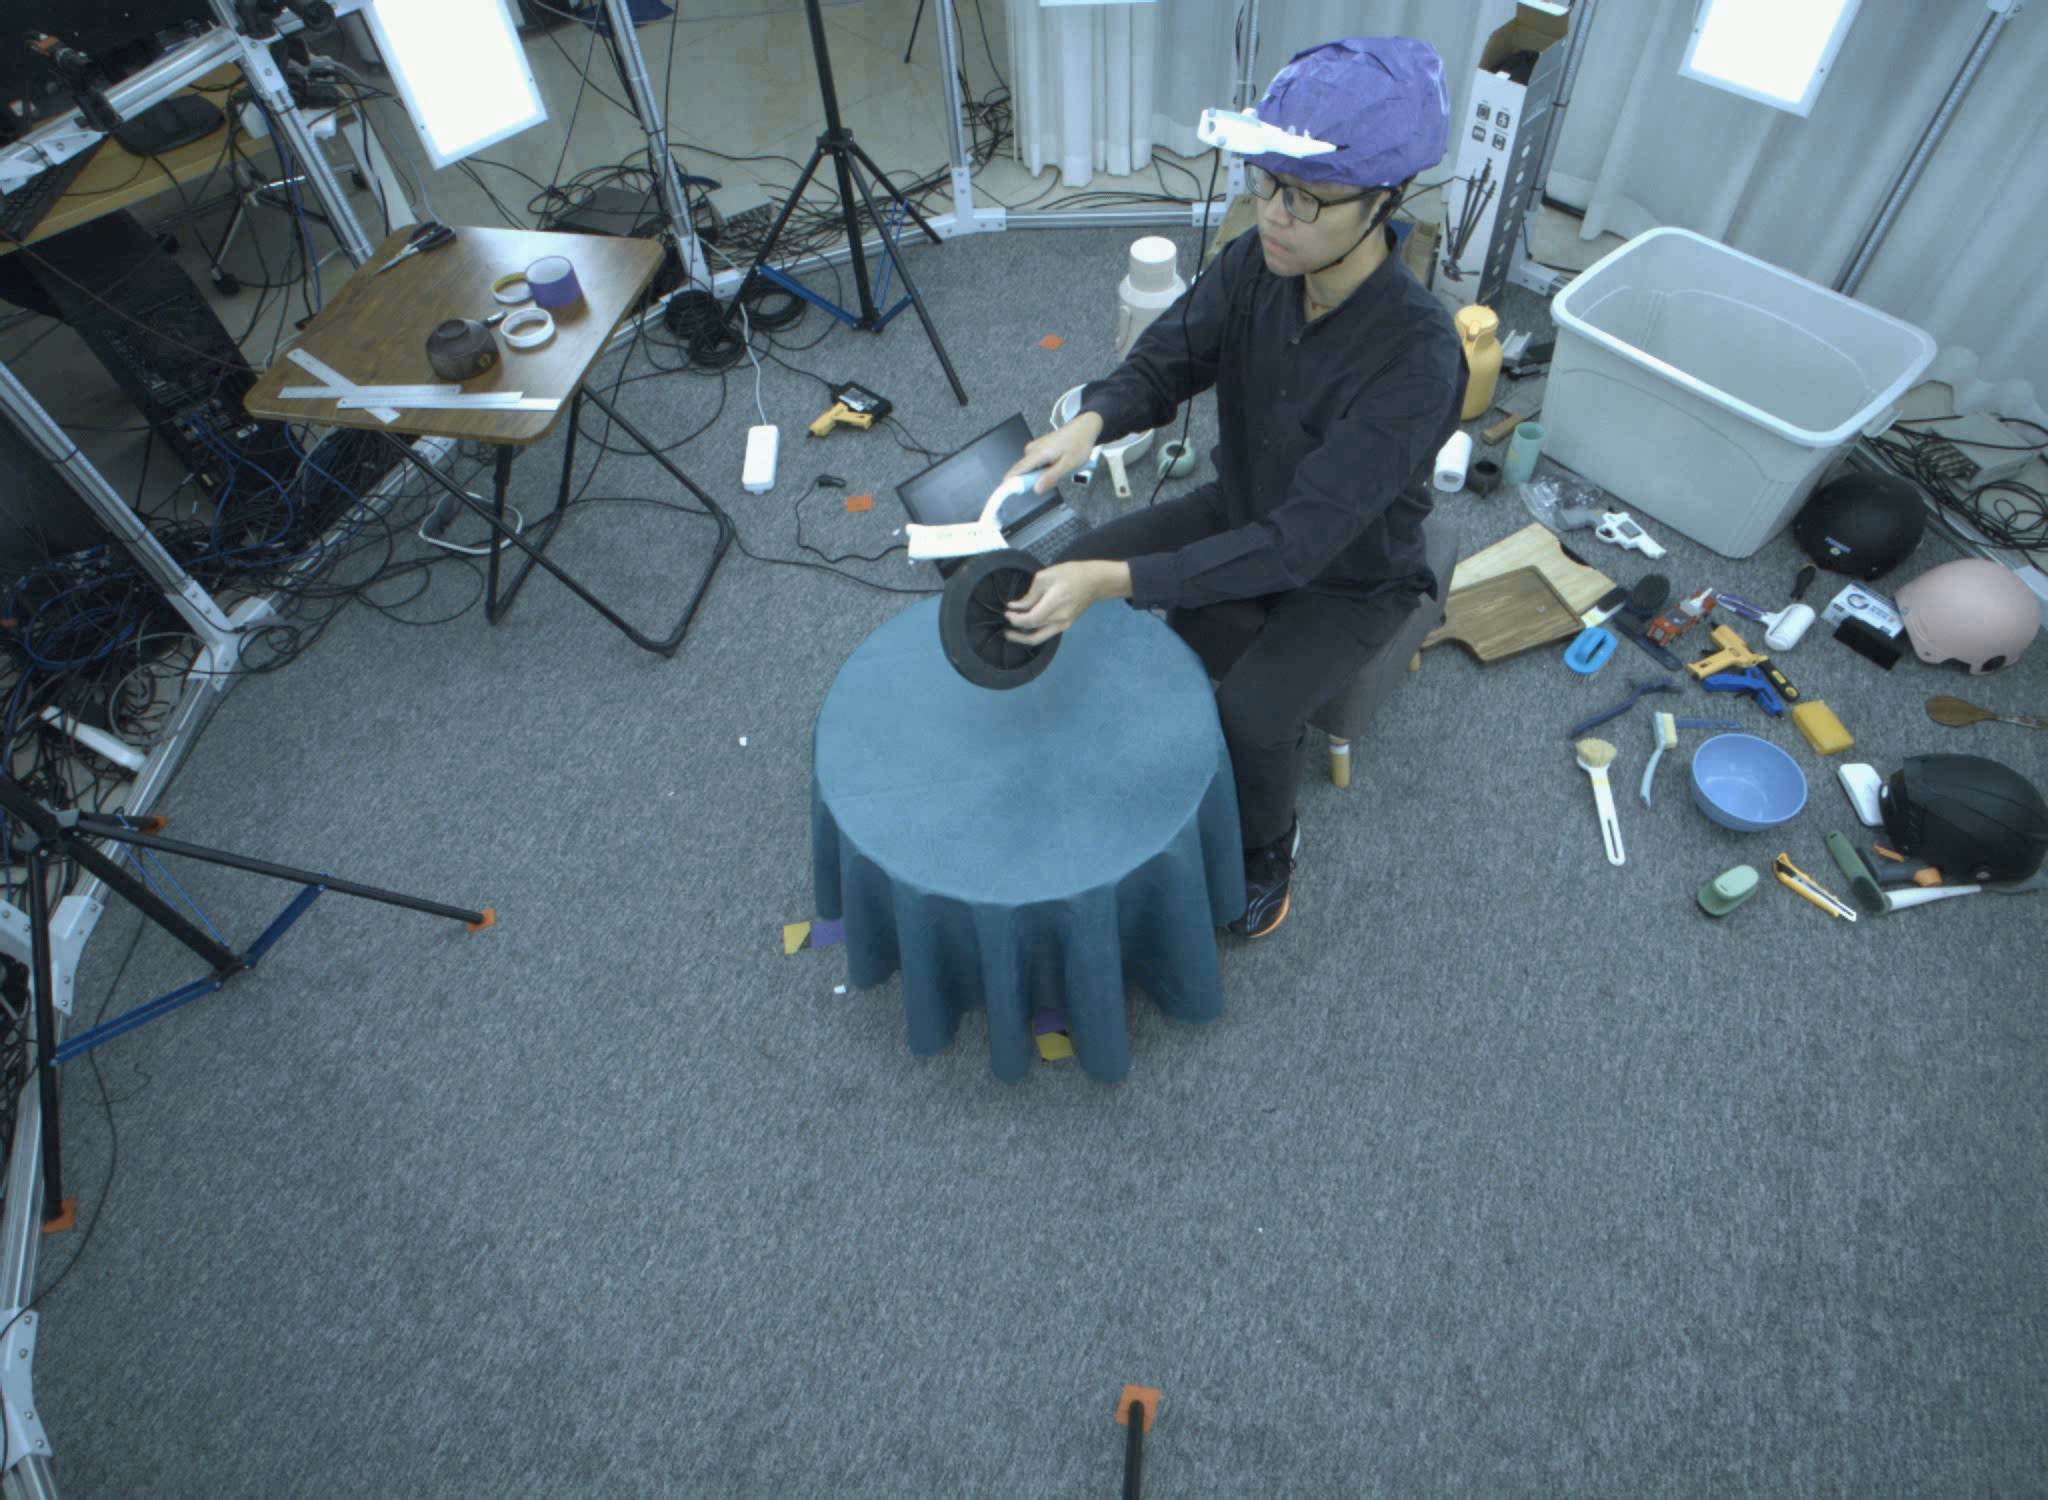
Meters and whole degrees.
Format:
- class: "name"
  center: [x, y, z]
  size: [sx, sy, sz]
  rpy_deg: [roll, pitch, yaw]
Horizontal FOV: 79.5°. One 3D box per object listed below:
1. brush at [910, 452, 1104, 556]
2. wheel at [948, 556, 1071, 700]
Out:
- class: "brush"
  center: [-0.008, -0.314, 1.640]
  size: [0.329, 0.085, 0.081]
  rpy_deg: [-26, 53, -30]
- class: "wheel"
  center: [-0.005, -0.159, 1.609]
  size: [0.077, 0.192, 0.190]
  rpy_deg: [11, 74, 53]
